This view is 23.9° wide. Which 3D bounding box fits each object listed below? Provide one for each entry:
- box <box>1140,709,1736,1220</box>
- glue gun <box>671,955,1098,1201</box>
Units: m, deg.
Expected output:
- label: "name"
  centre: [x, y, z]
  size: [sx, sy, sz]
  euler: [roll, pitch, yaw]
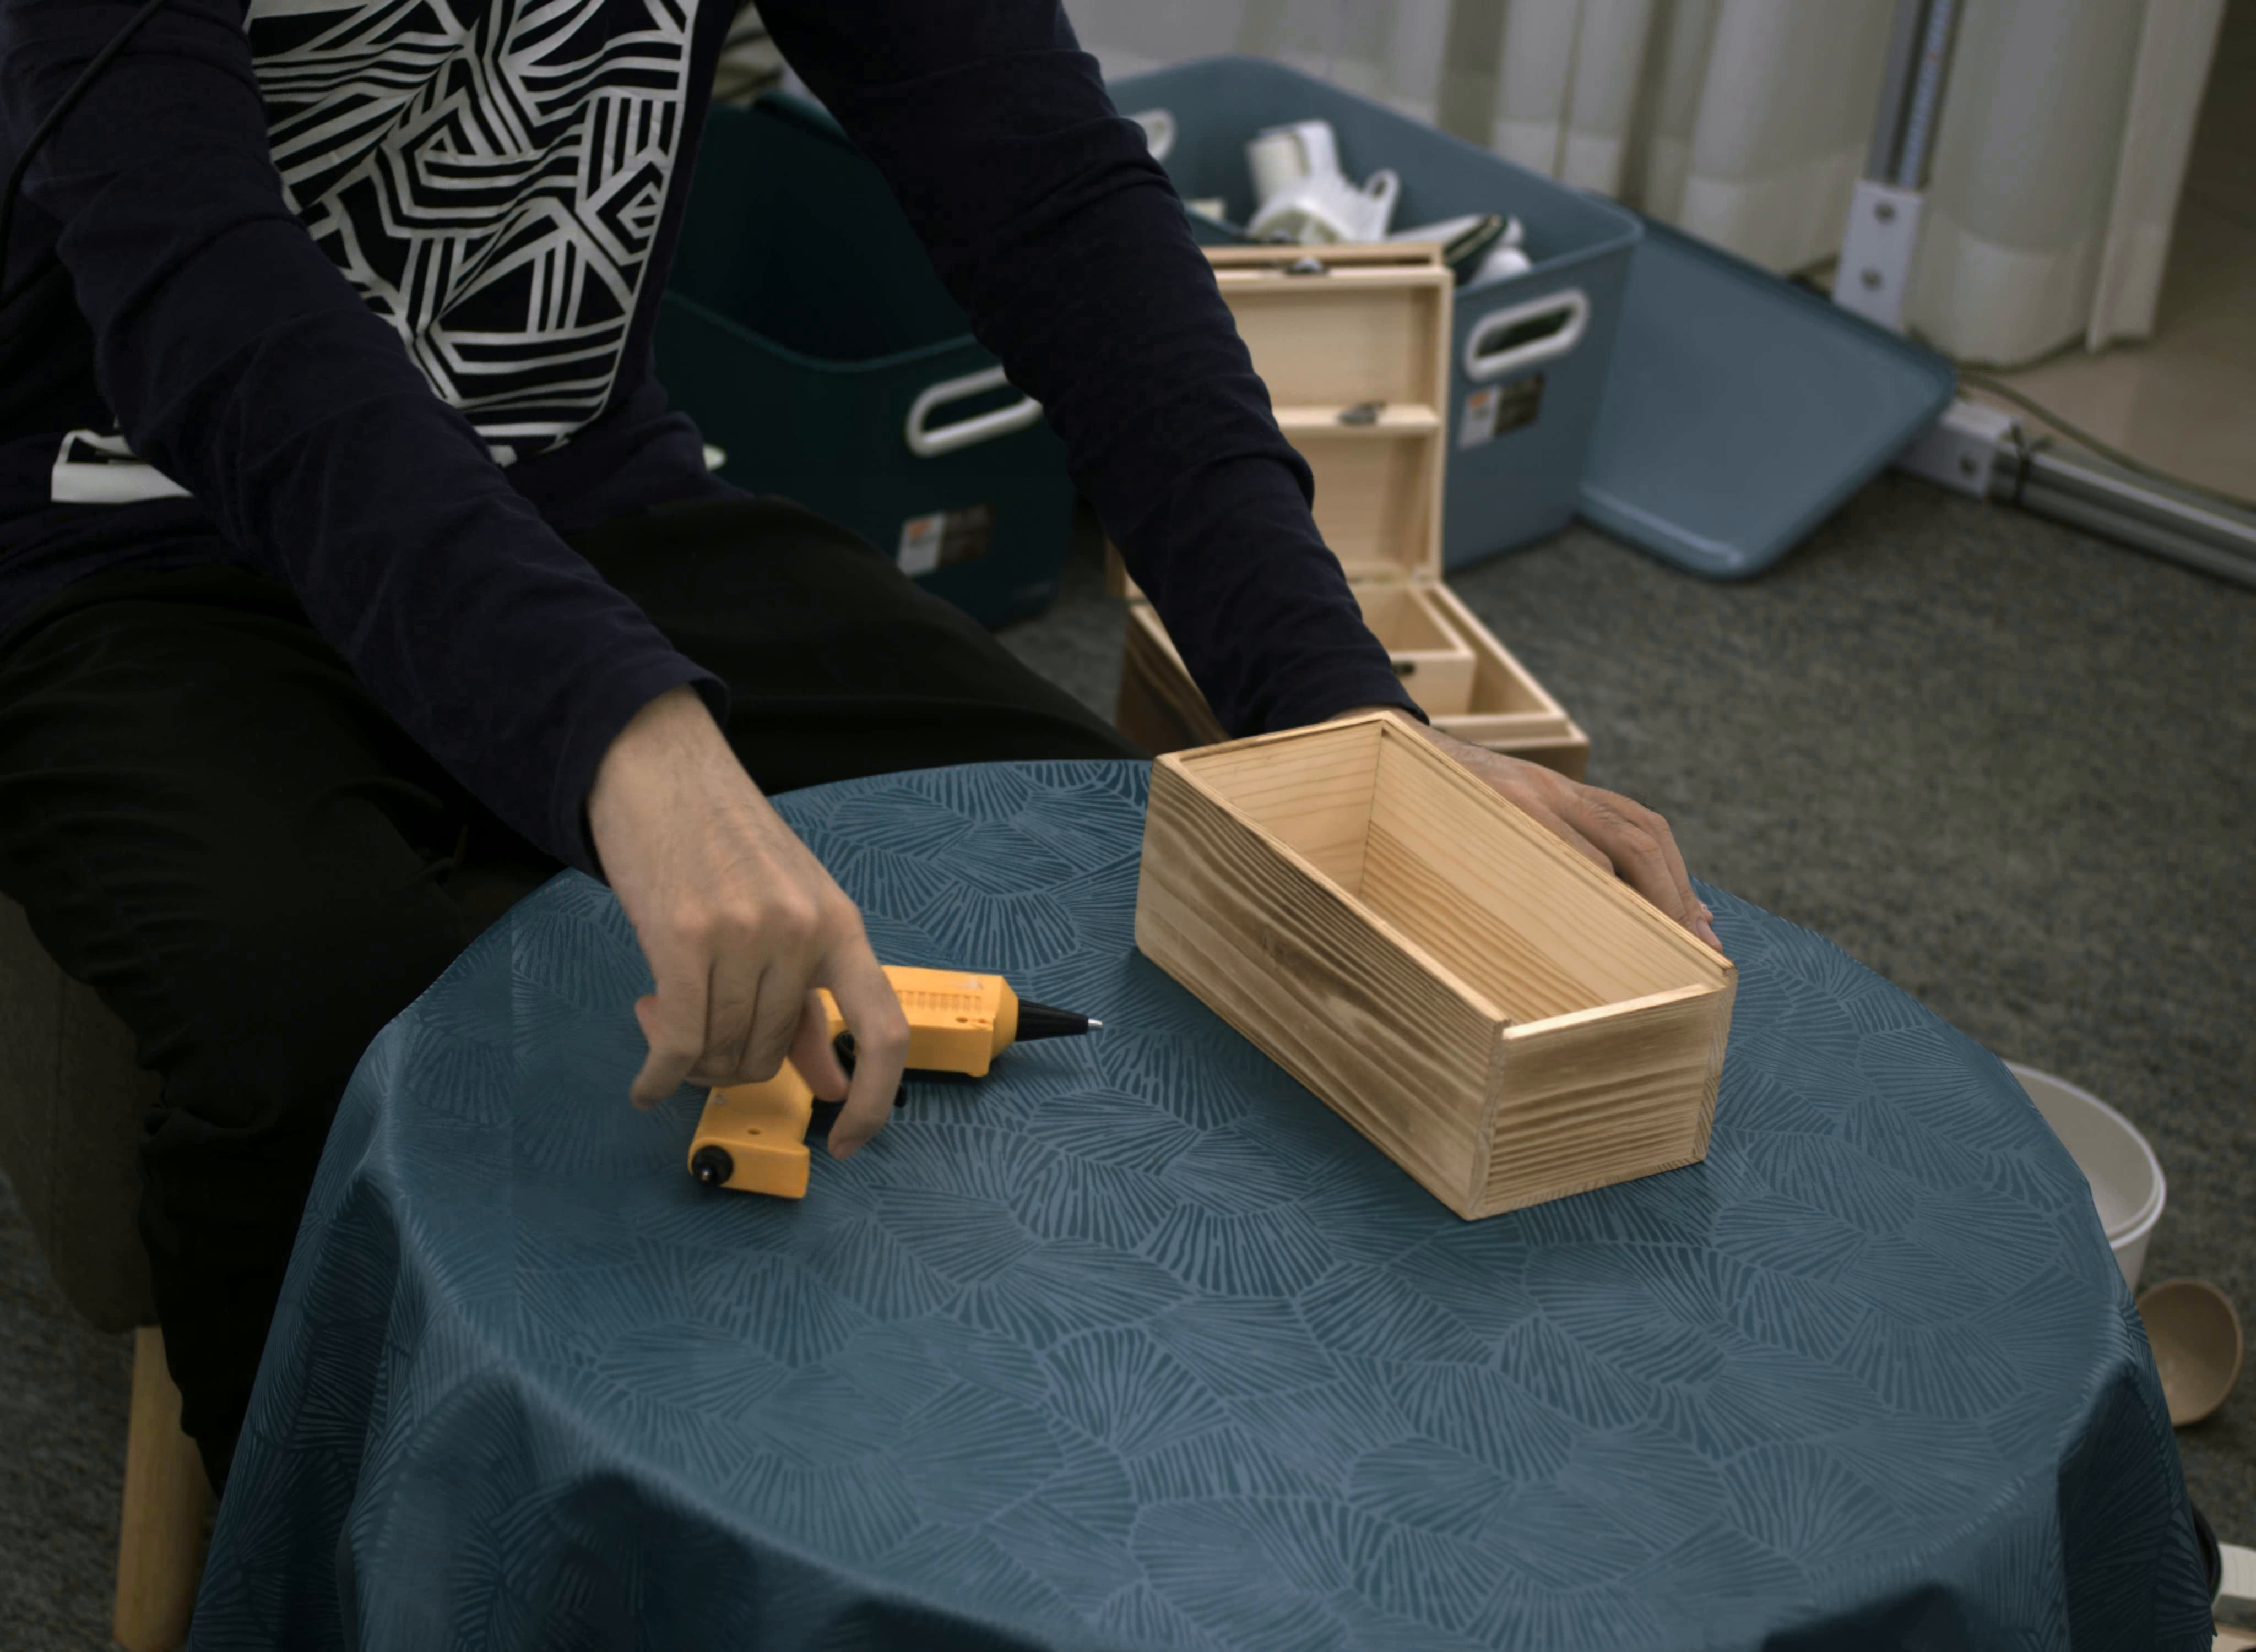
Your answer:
- label: "box"
  centre: [0.107, 0.046, 1.900]
  size: [0.107, 0.080, 0.213]
  euler: [-11, 32, -31]
- label: "glue gun"
  centre: [-0.080, 0.087, 1.836]
  size: [0.150, 0.031, 0.134]
  euler: [1, 29, -9]
